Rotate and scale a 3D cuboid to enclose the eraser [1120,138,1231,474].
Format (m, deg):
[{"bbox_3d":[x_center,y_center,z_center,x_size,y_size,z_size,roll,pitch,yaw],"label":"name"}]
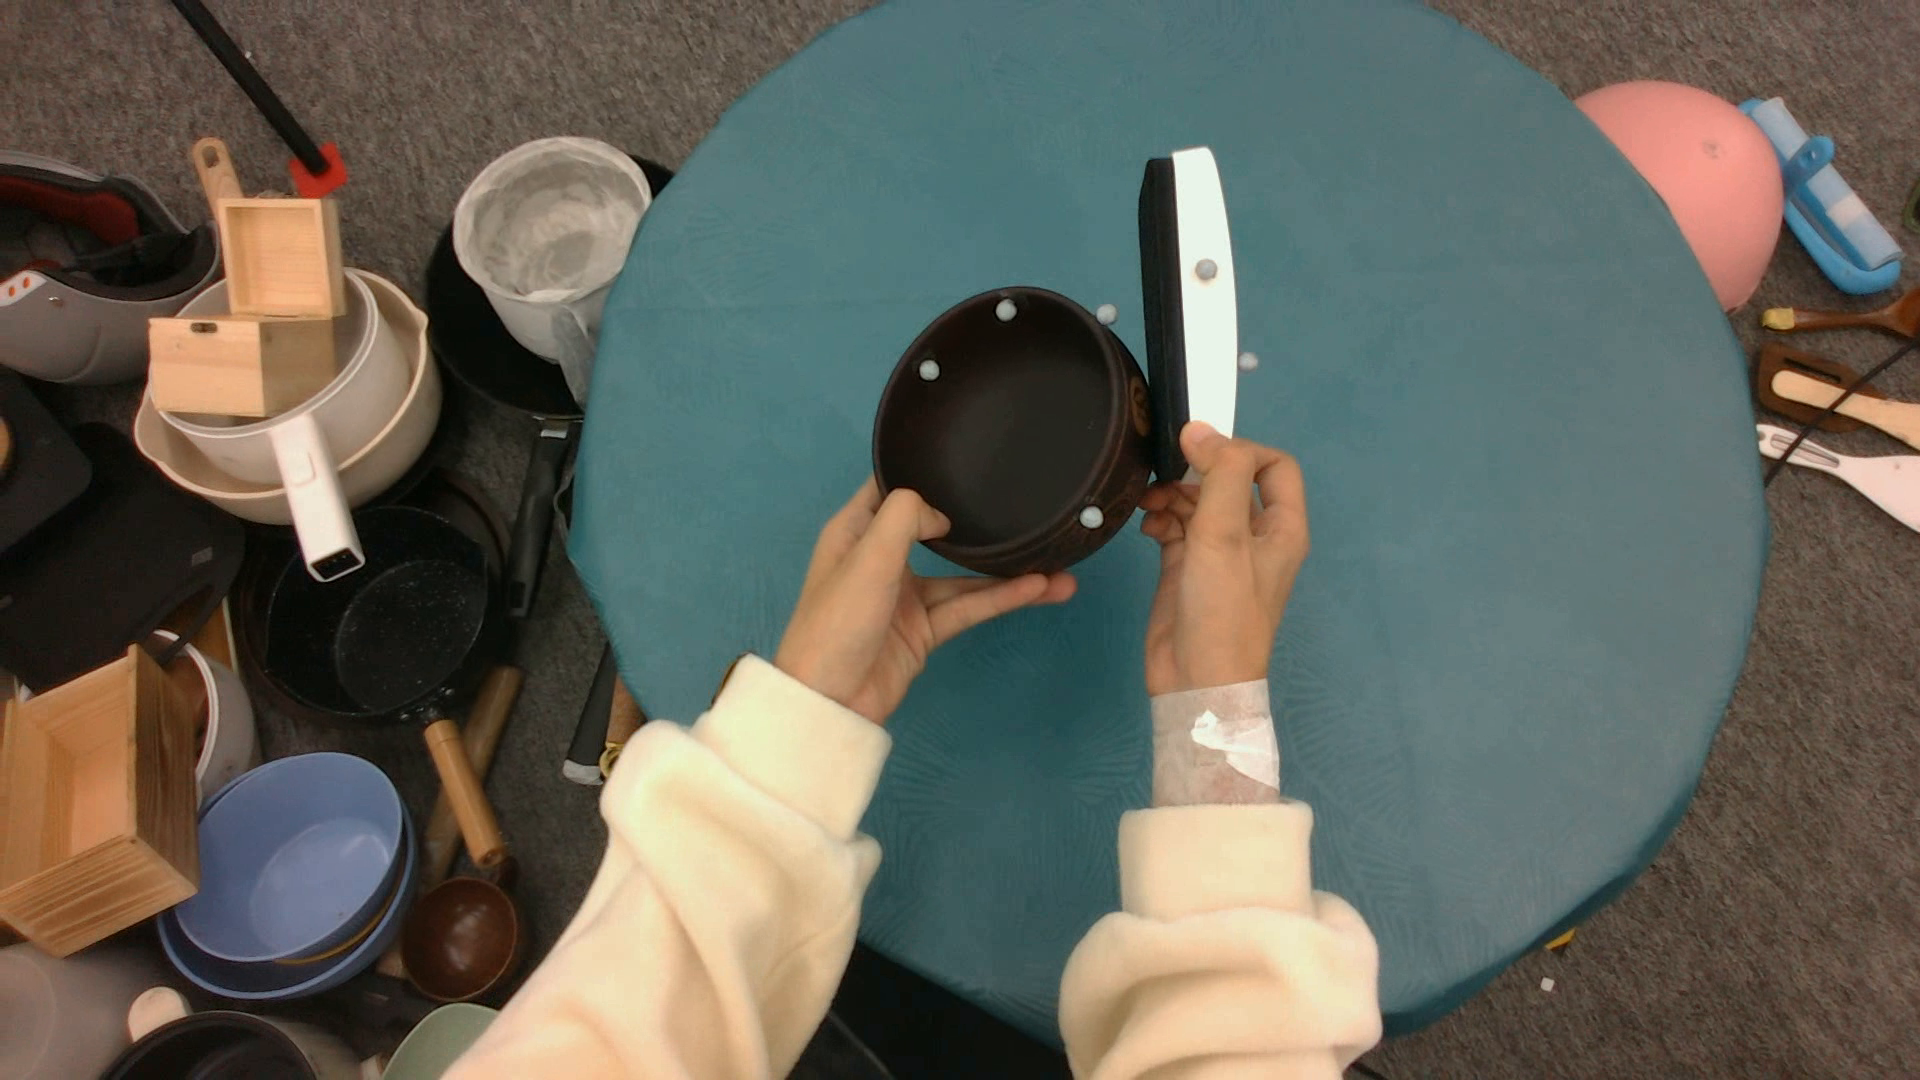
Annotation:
[{"bbox_3d":[0.087,-0.093,0.557,0.034,0.063,0.131,-5,81,4],"label":"eraser"}]

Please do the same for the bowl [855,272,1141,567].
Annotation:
[{"bbox_3d":[0.022,-0.044,0.572,0.117,0.070,0.118,-11,69,31],"label":"bowl"}]
